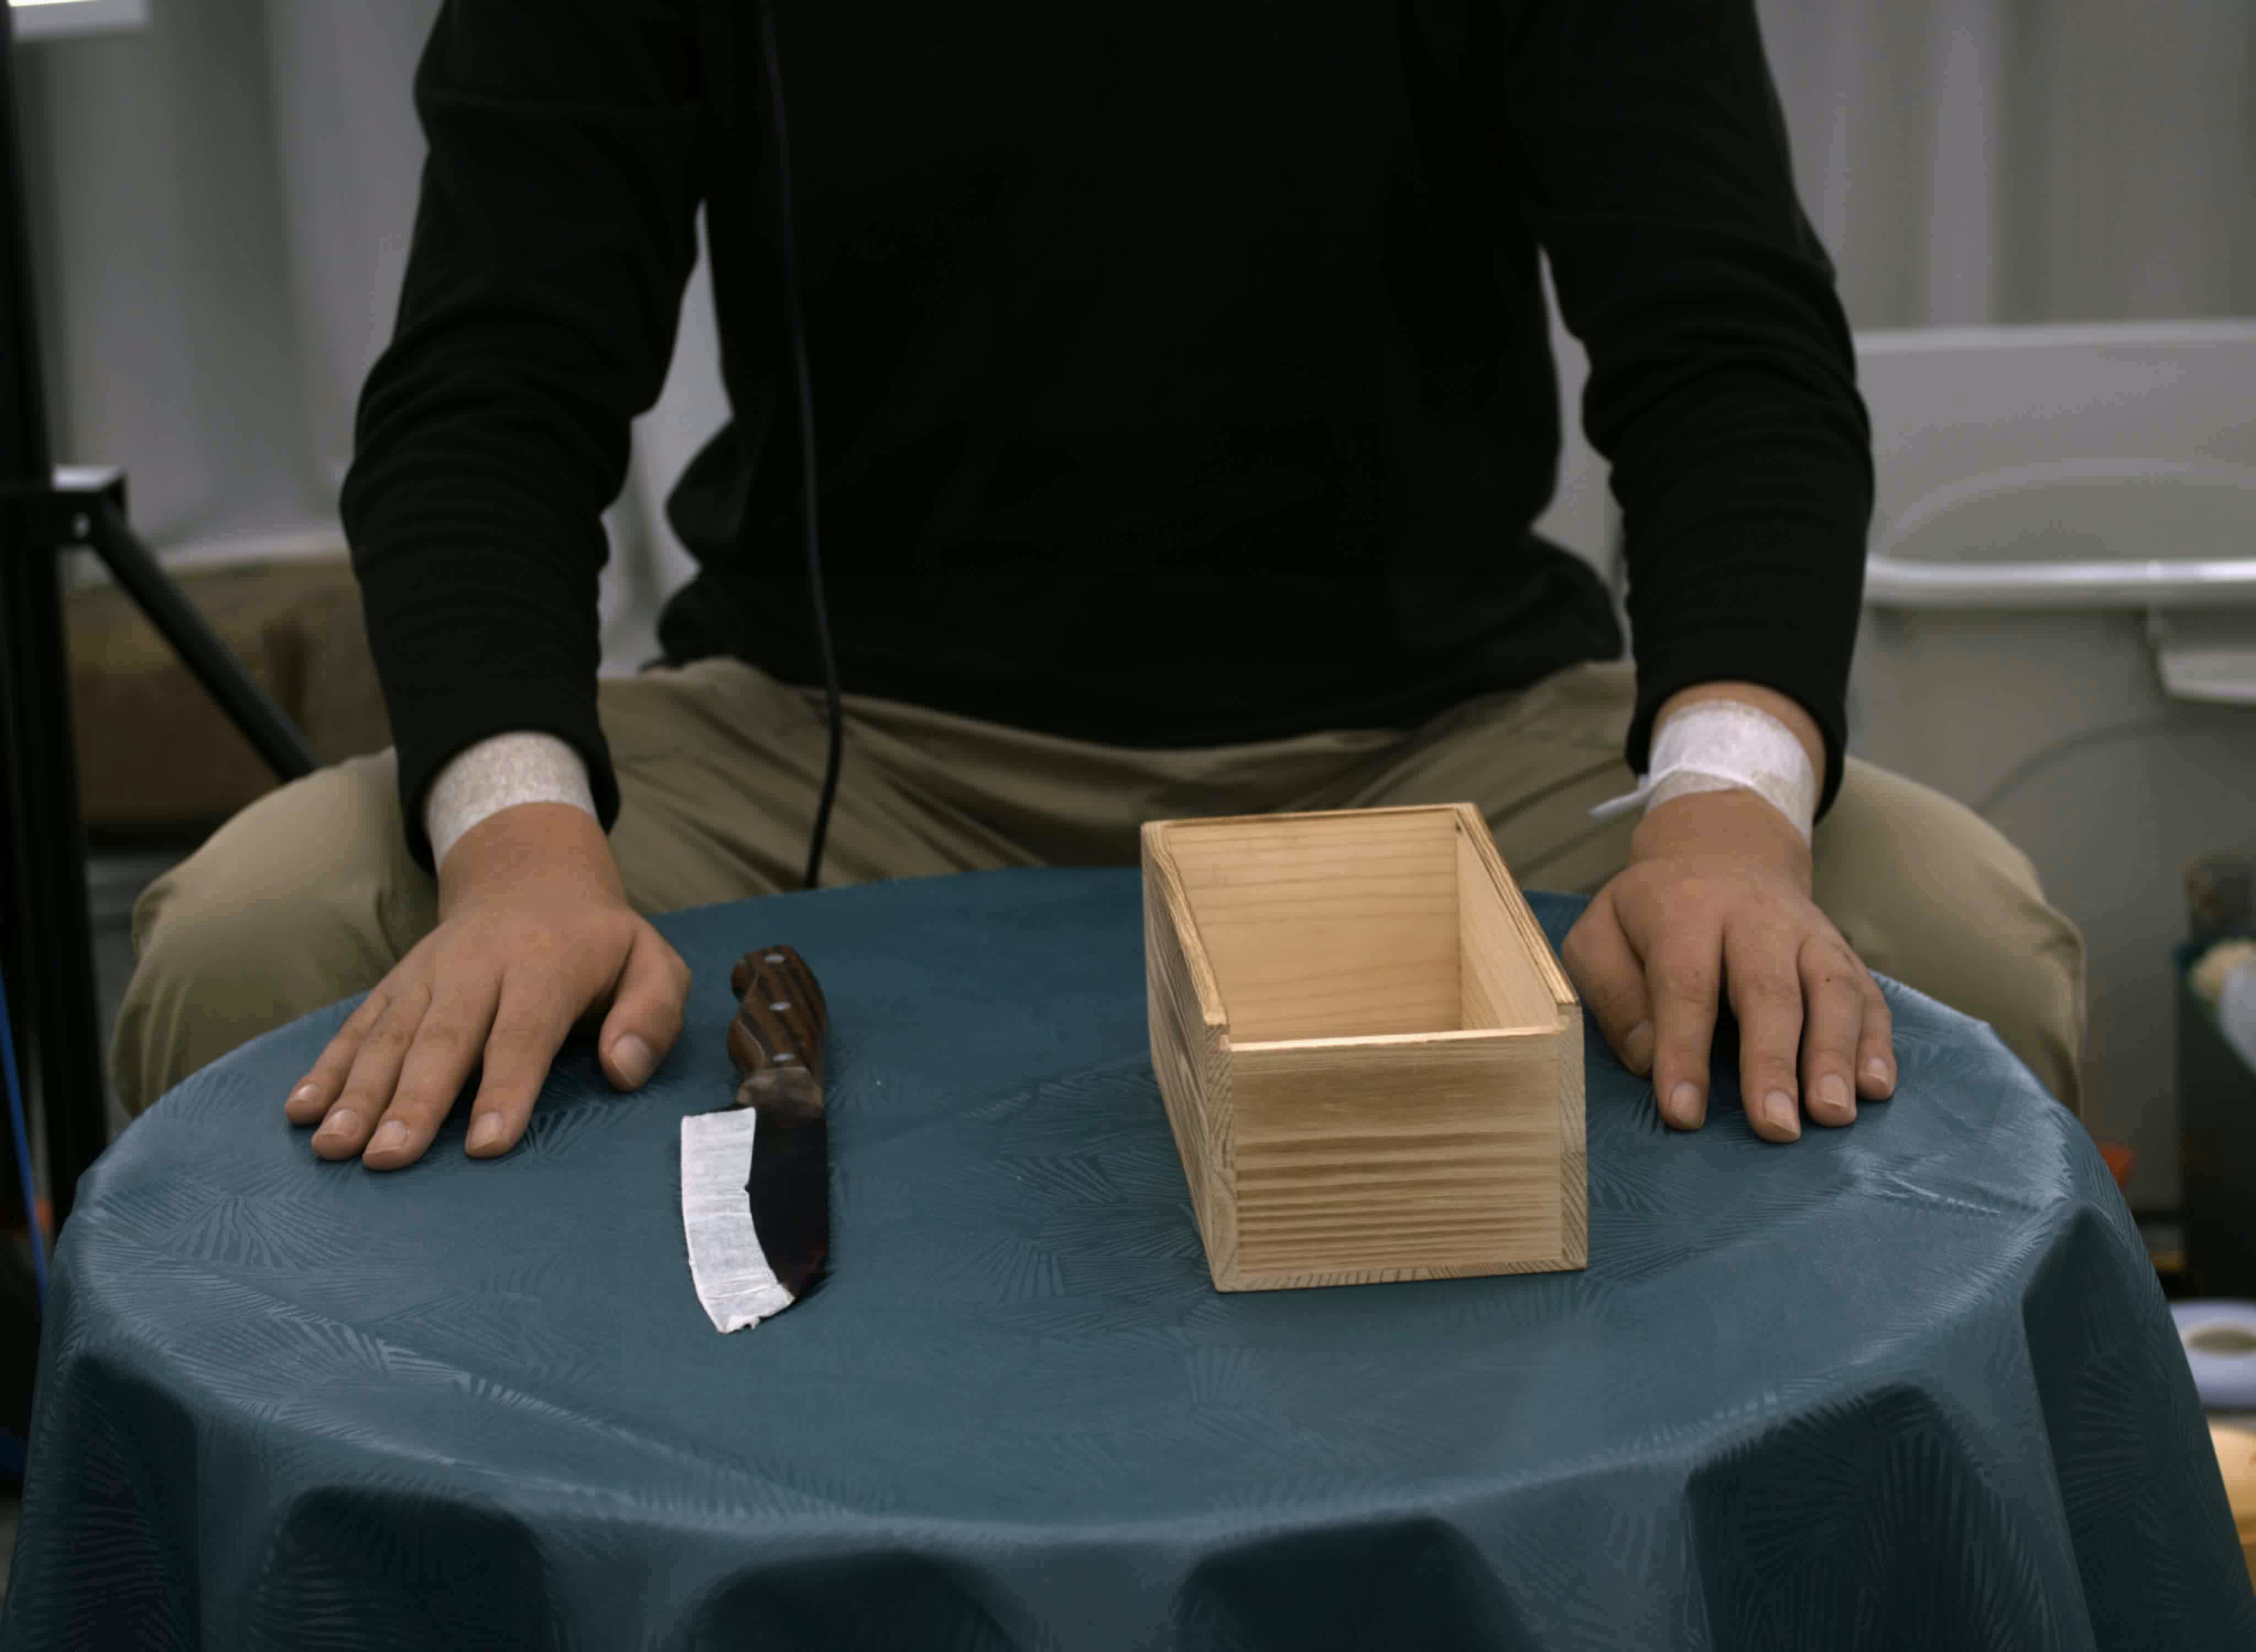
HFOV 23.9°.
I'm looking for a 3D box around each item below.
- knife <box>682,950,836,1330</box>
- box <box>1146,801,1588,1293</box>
[{"bbox_3d":[-0.109,0.094,1.600,0.050,0.020,0.290,-7,18,1],"label":"knife"},{"bbox_3d":[0.067,0.061,1.565,0.107,0.080,0.213,-3,16,-4],"label":"box"}]
